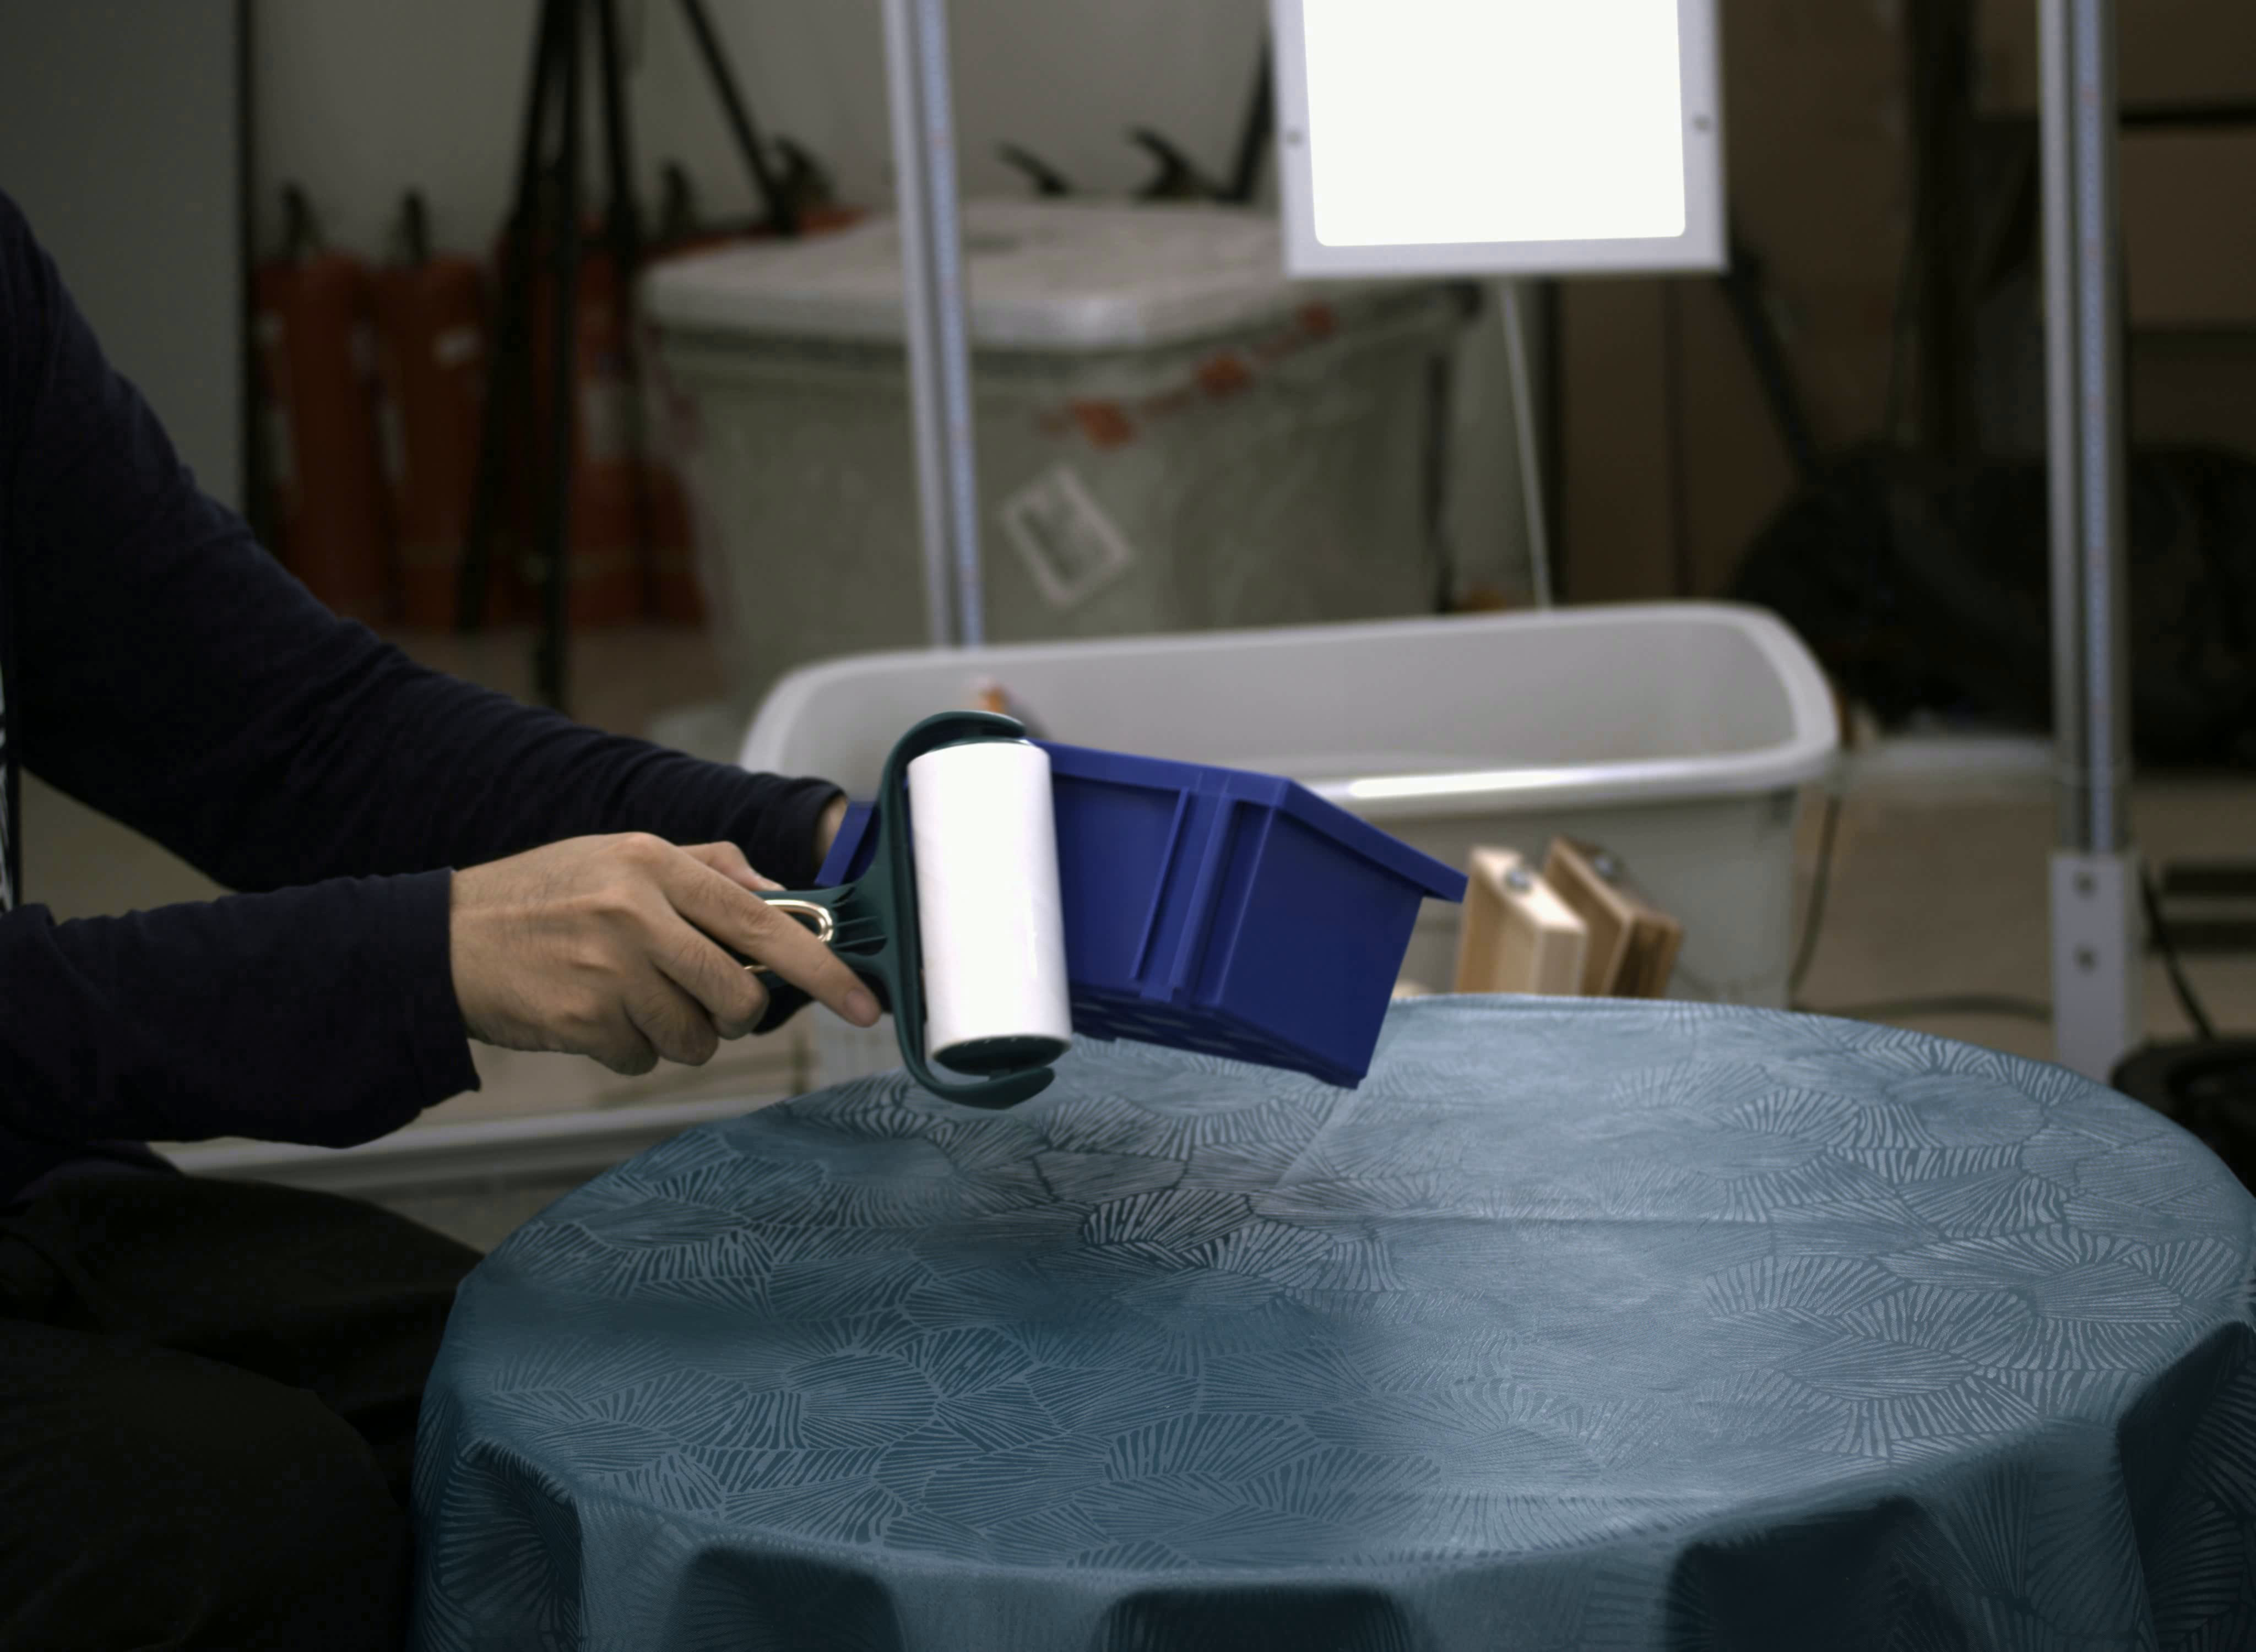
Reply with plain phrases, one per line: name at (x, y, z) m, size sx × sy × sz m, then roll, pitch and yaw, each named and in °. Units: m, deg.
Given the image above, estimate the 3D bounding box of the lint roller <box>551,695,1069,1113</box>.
lint roller at (-0.112, 0.037, 1.829) m, size 0.181 × 0.134 × 0.048 m, roll -8°, pitch -14°, yaw 12°

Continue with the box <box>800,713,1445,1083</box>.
box at (-0.006, 0.023, 1.877) m, size 0.183 × 0.082 × 0.122 m, roll 13°, pitch -8°, yaw 40°
